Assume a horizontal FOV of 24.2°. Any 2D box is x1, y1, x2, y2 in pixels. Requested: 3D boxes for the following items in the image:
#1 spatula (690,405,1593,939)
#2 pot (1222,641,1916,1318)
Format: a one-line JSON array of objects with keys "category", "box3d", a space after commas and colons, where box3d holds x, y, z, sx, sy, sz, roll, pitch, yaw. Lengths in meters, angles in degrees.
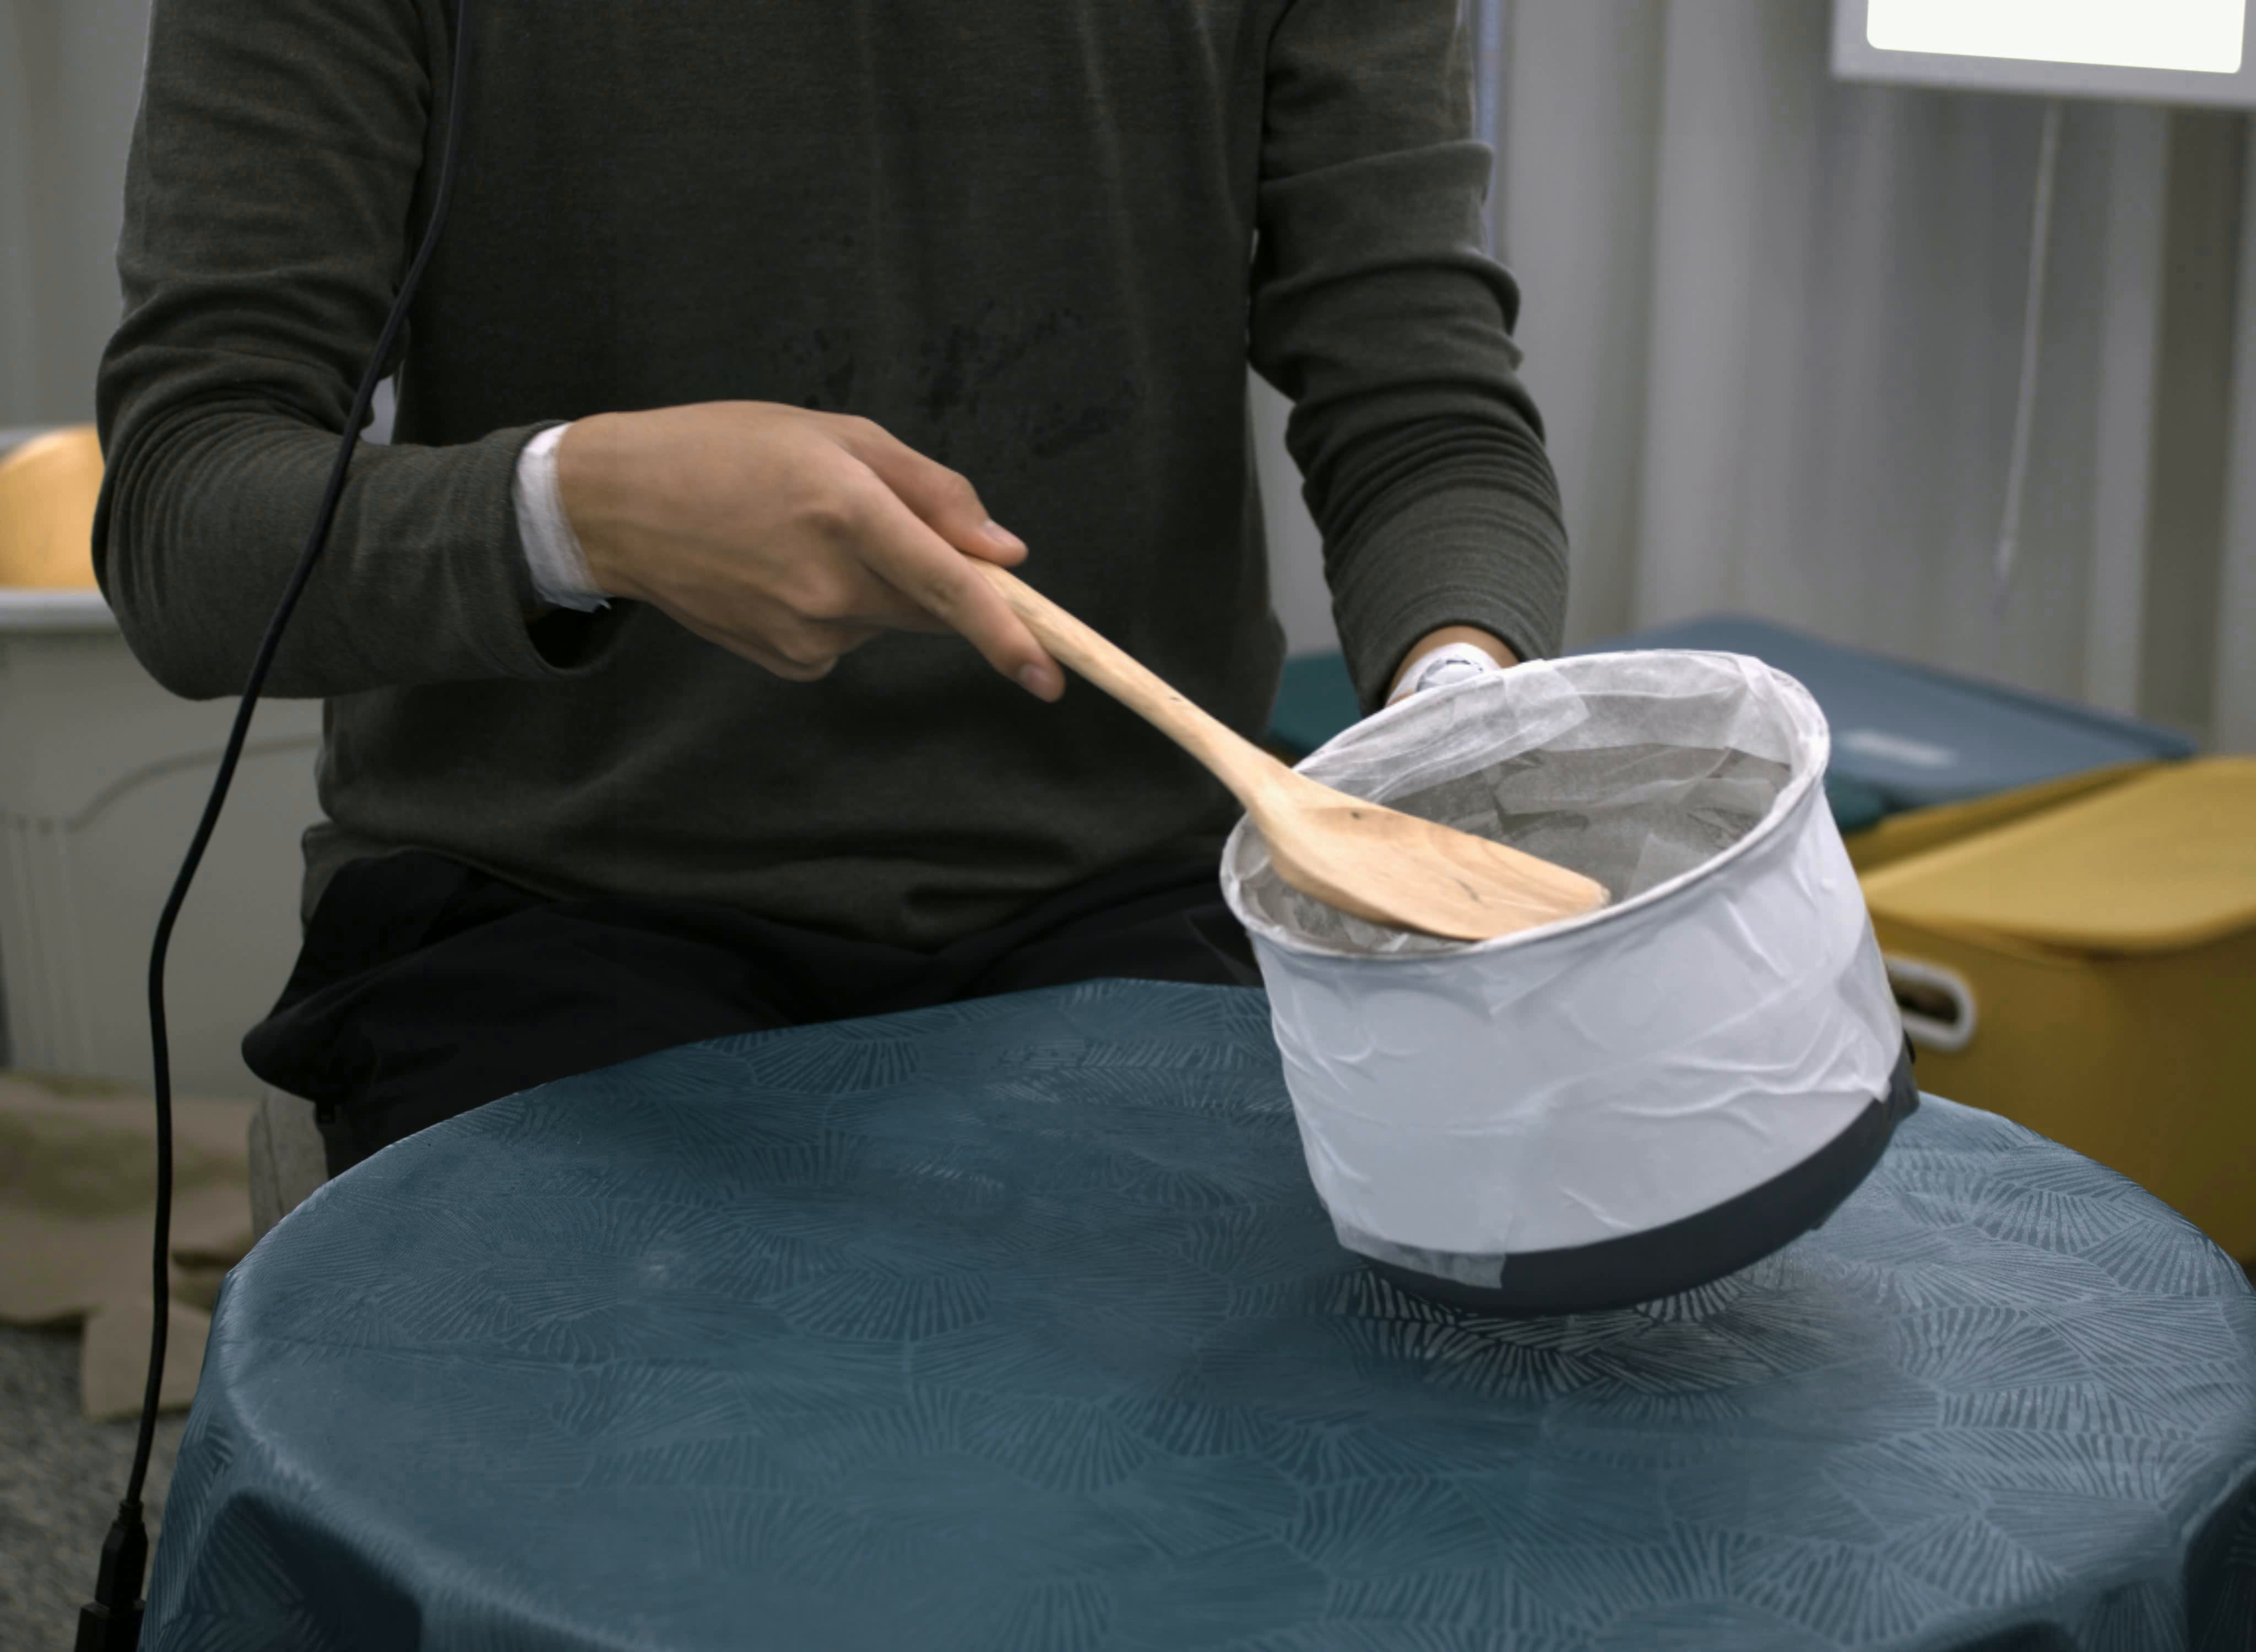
[{"category": "spatula", "box3d": [-0.016, -0.050, 1.542, 0.096, 0.018, 0.385, -1, 27, -44]}, {"category": "pot", "box3d": [0.122, 0.034, 1.526, 0.178, 0.138, 0.231, -17, 25, -4]}]
